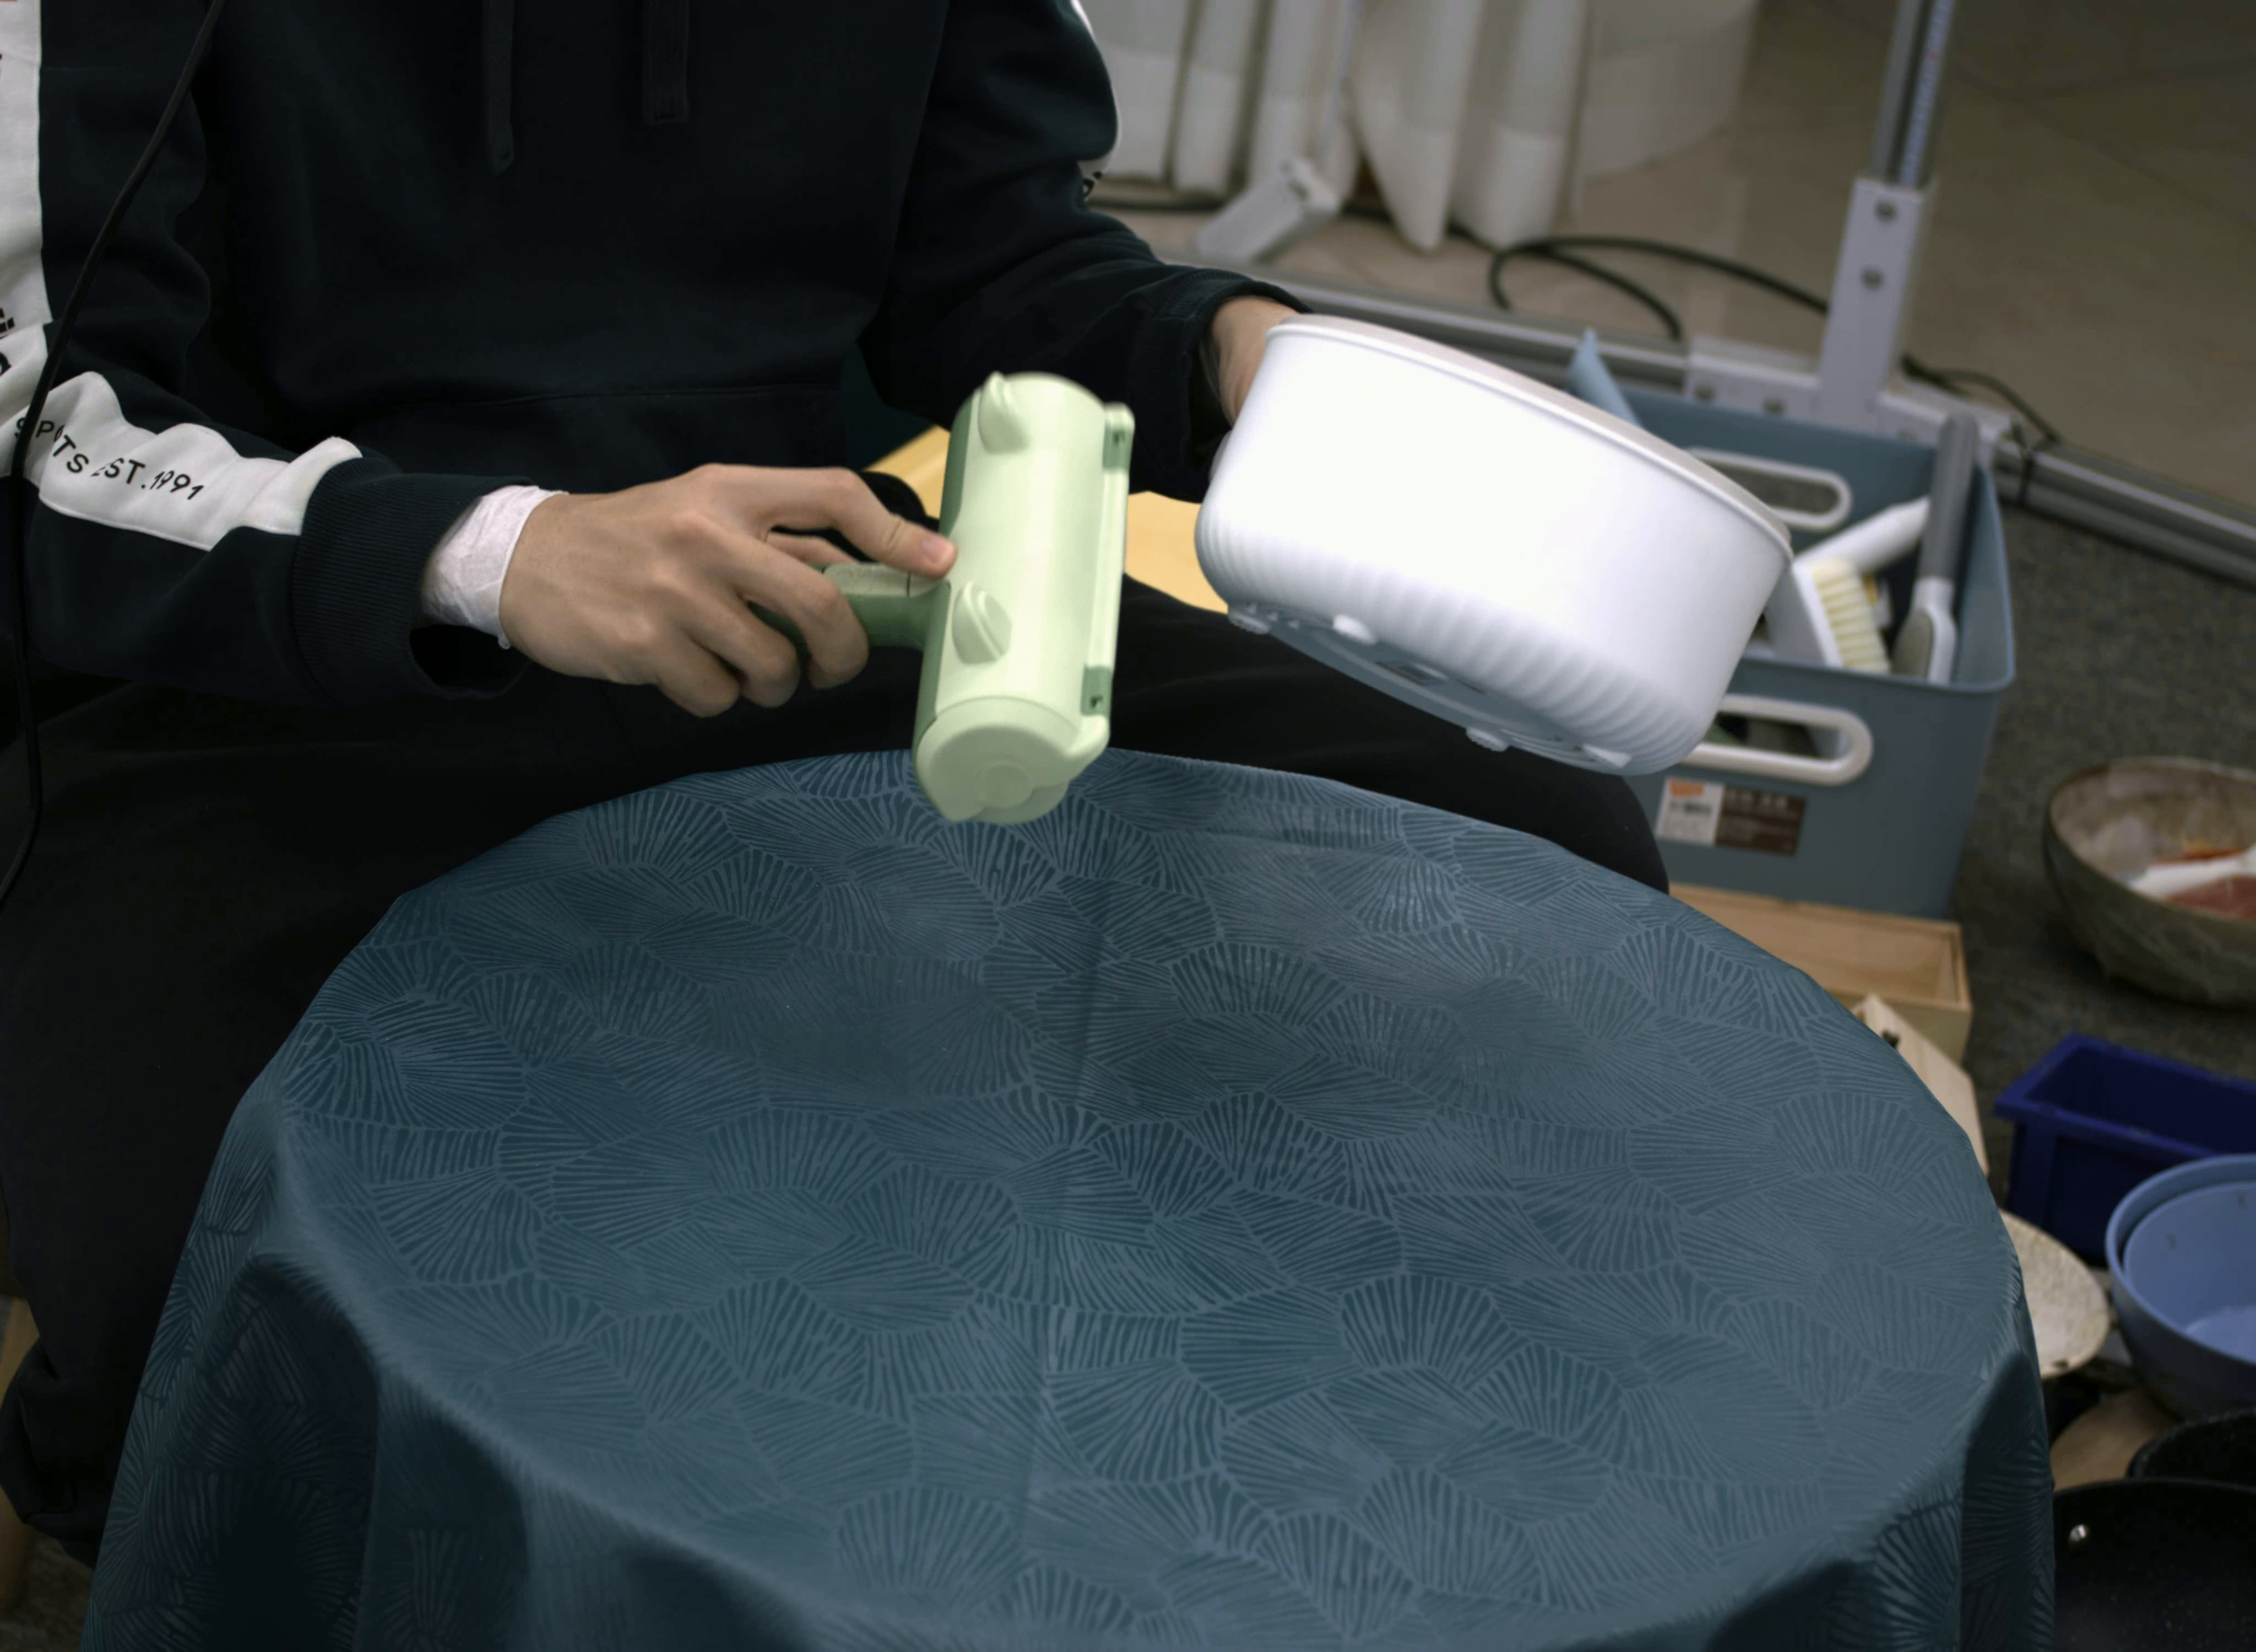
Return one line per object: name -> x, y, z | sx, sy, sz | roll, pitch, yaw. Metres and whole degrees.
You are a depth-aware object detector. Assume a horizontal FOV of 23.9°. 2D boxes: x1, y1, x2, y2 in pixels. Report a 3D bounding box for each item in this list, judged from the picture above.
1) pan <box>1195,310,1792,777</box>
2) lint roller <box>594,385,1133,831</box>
pan -> 0.097, -0.096, 1.935 | 0.200, 0.102, 0.356 | 26, -6, -19
lint roller -> -0.095, -0.086, 1.835 | 0.183, 0.082, 0.200 | 3, 39, 2
